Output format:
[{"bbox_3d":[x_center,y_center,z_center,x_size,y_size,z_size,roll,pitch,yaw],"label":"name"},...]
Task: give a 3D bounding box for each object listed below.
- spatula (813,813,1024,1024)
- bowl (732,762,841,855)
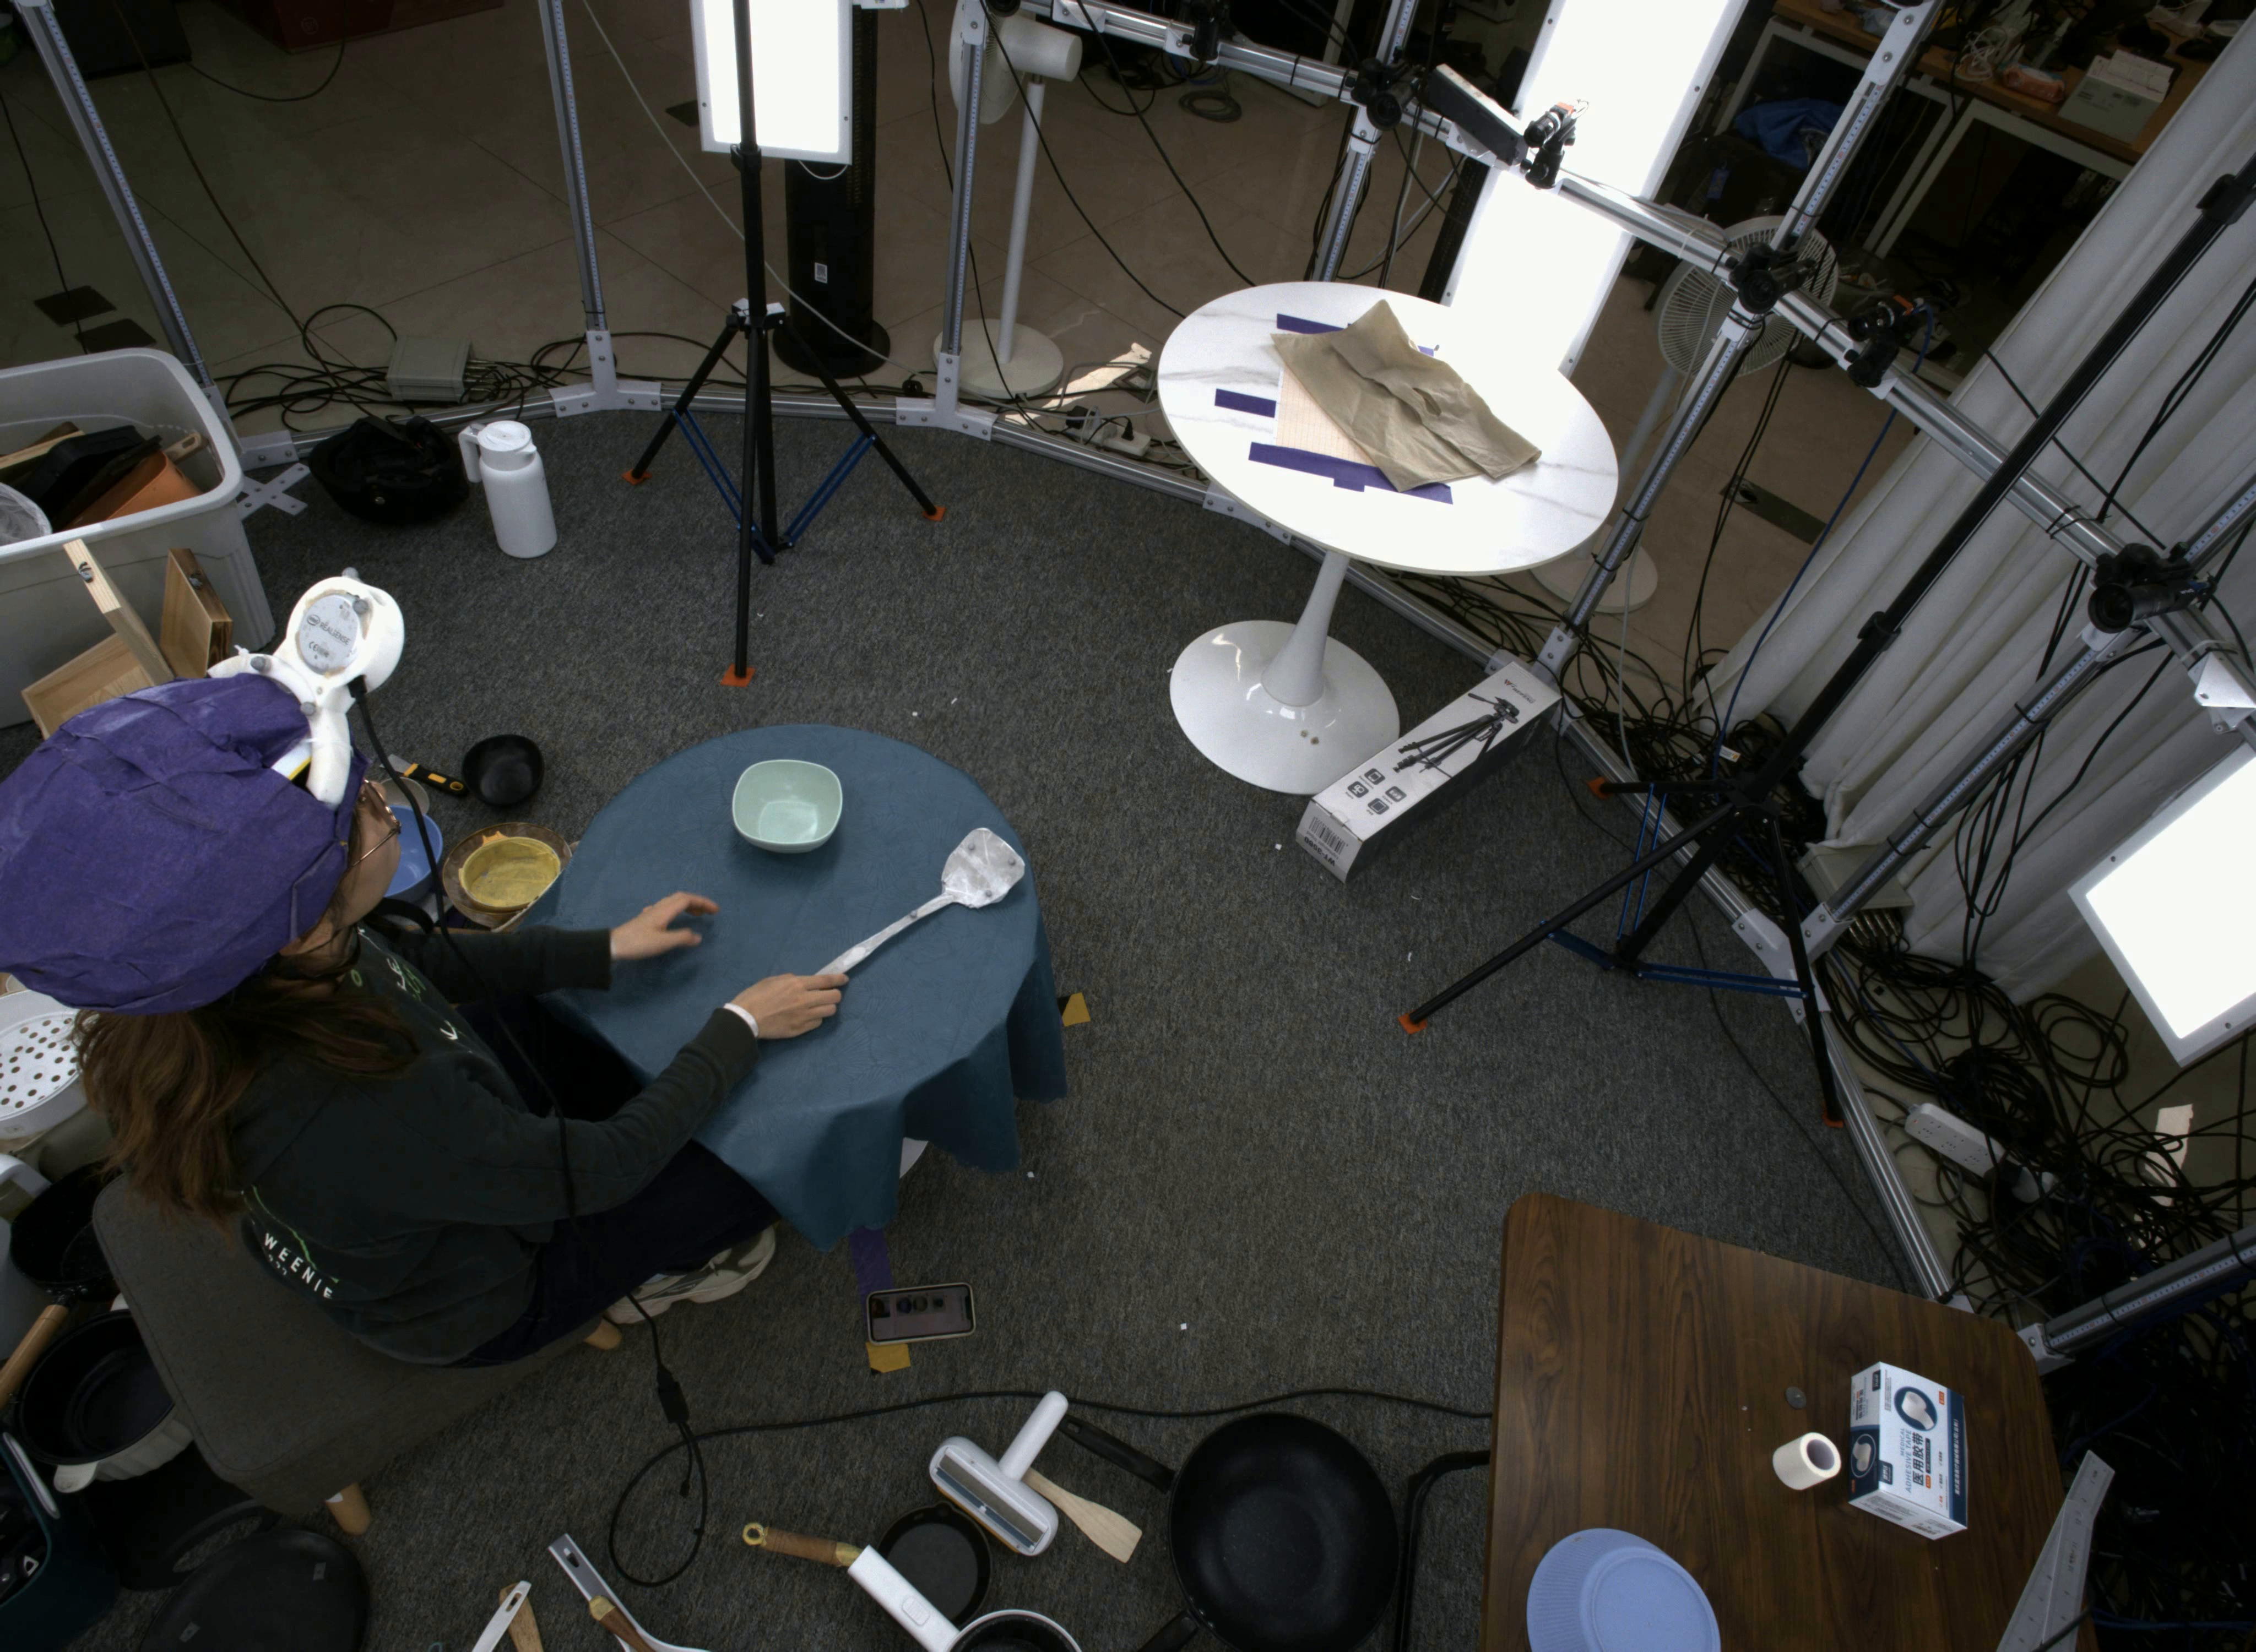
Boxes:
[{"bbox_3d":[-0.270,0.117,1.656,0.095,0.046,0.364,26,54,27],"label":"spatula"},{"bbox_3d":[-0.447,-0.015,1.698,0.151,0.060,0.148,9,50,-9],"label":"bowl"}]
